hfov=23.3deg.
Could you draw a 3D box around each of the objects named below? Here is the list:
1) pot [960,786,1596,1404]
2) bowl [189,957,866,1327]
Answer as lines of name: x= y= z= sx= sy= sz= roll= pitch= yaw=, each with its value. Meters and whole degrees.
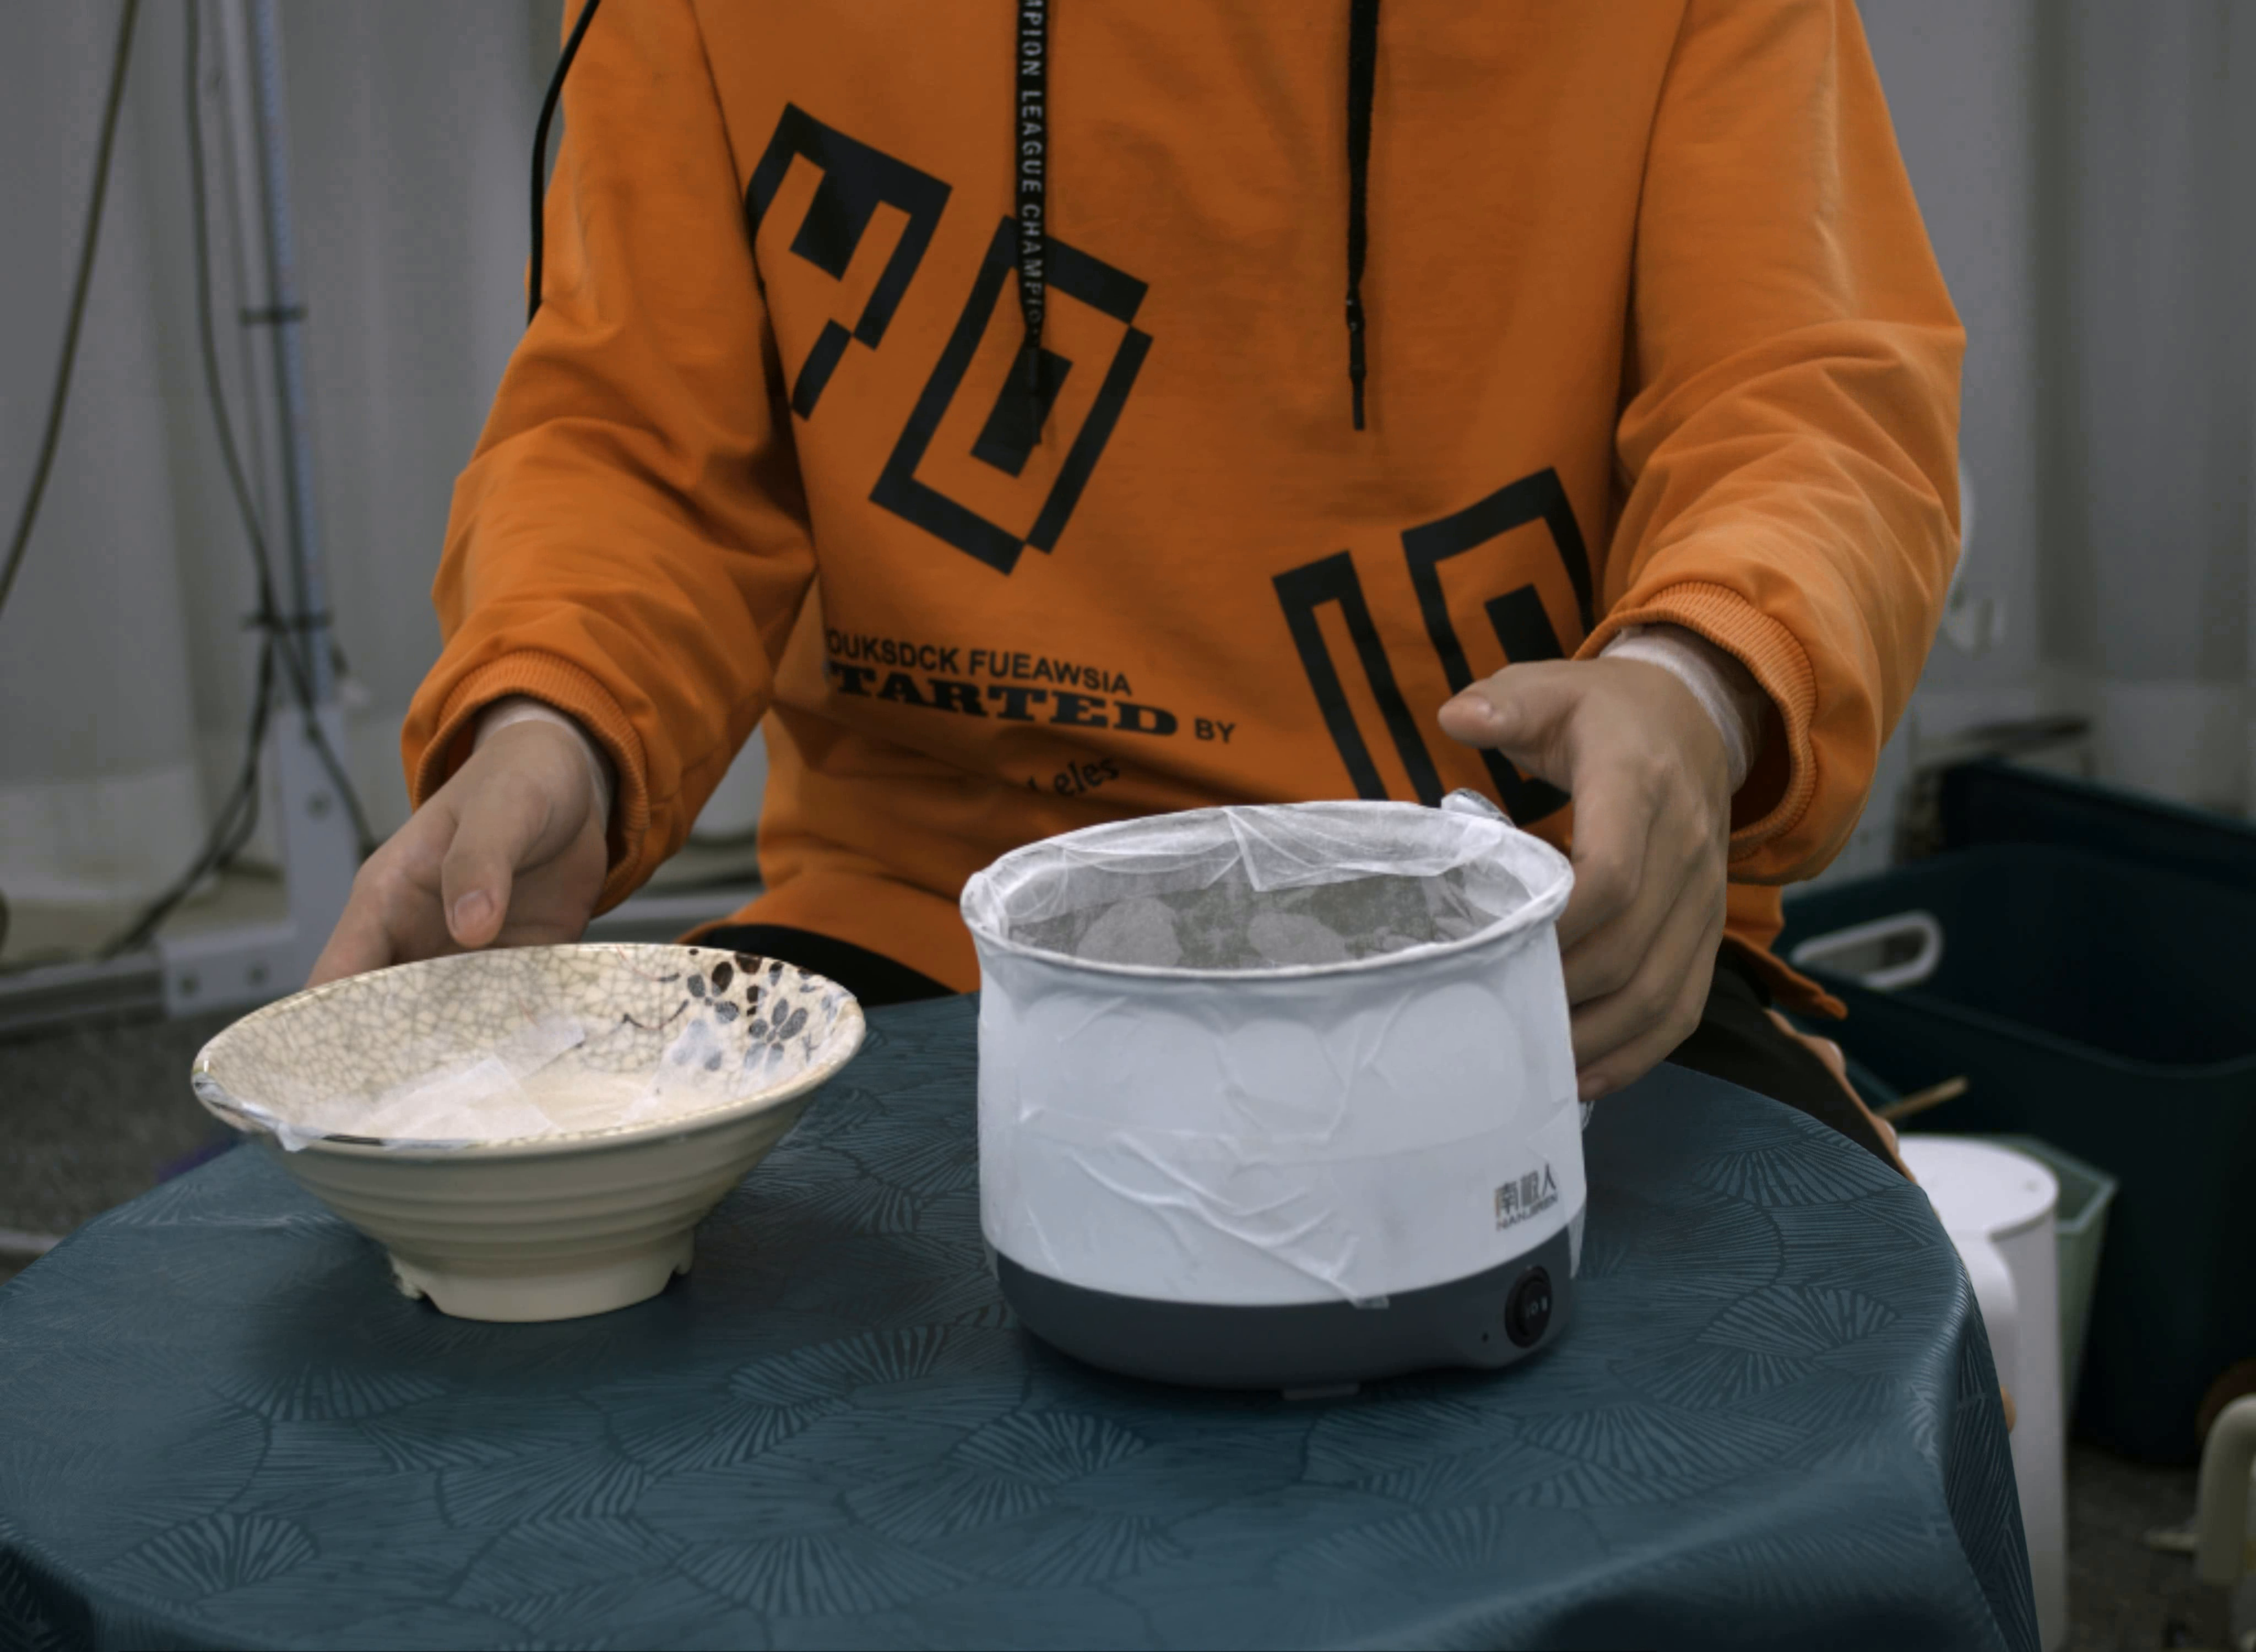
pot: x=0.060 y=0.071 z=1.603 sx=0.179 sy=0.136 sz=0.233 roll=8 pitch=19 yaw=36
bowl: x=-0.179 y=0.102 z=1.656 sx=0.203 sy=0.078 sz=0.205 roll=-3 pitch=13 yaw=0
